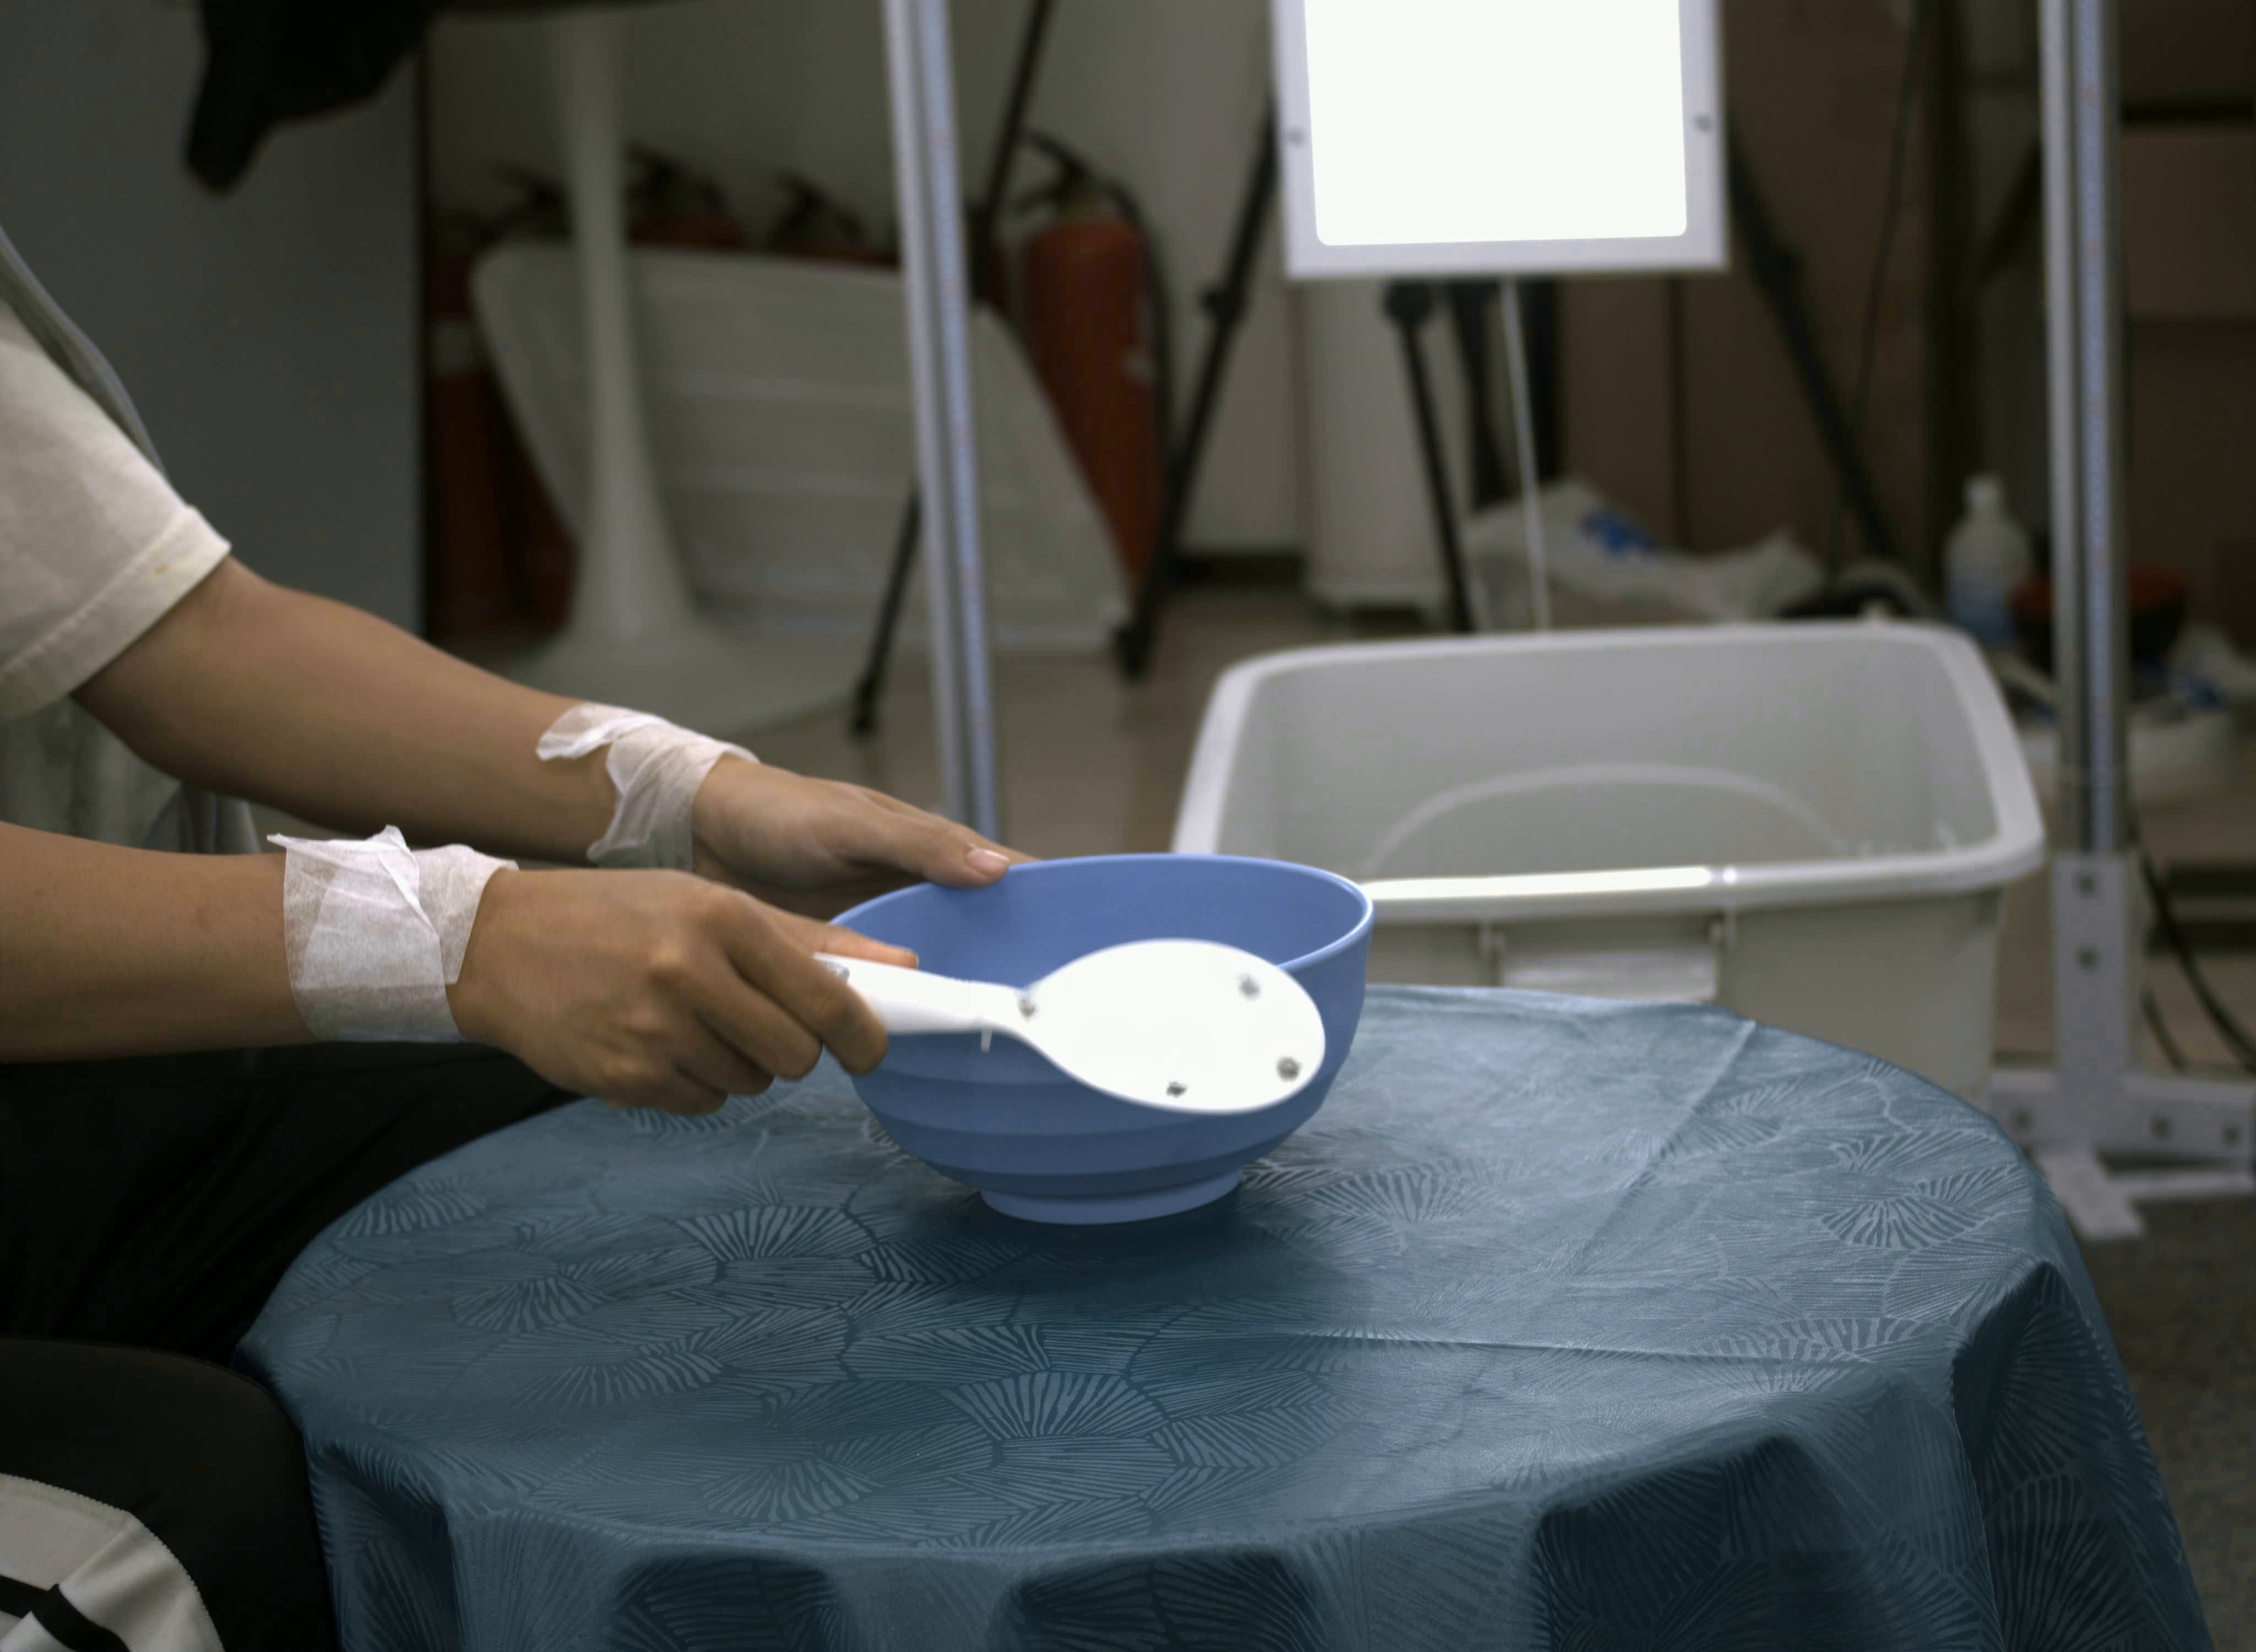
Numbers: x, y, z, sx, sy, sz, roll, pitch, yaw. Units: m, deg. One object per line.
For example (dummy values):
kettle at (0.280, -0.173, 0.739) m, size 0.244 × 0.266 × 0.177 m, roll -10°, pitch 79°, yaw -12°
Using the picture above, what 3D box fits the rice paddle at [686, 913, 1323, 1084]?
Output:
rice paddle at (-0.038, 0.052, 1.758) m, size 0.204 × 0.029 × 0.068 m, roll 3°, pitch 51°, yaw -3°

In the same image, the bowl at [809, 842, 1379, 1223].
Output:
bowl at (-0.009, 0.077, 1.896) m, size 0.196 × 0.096 × 0.196 m, roll -3°, pitch 16°, yaw 0°
